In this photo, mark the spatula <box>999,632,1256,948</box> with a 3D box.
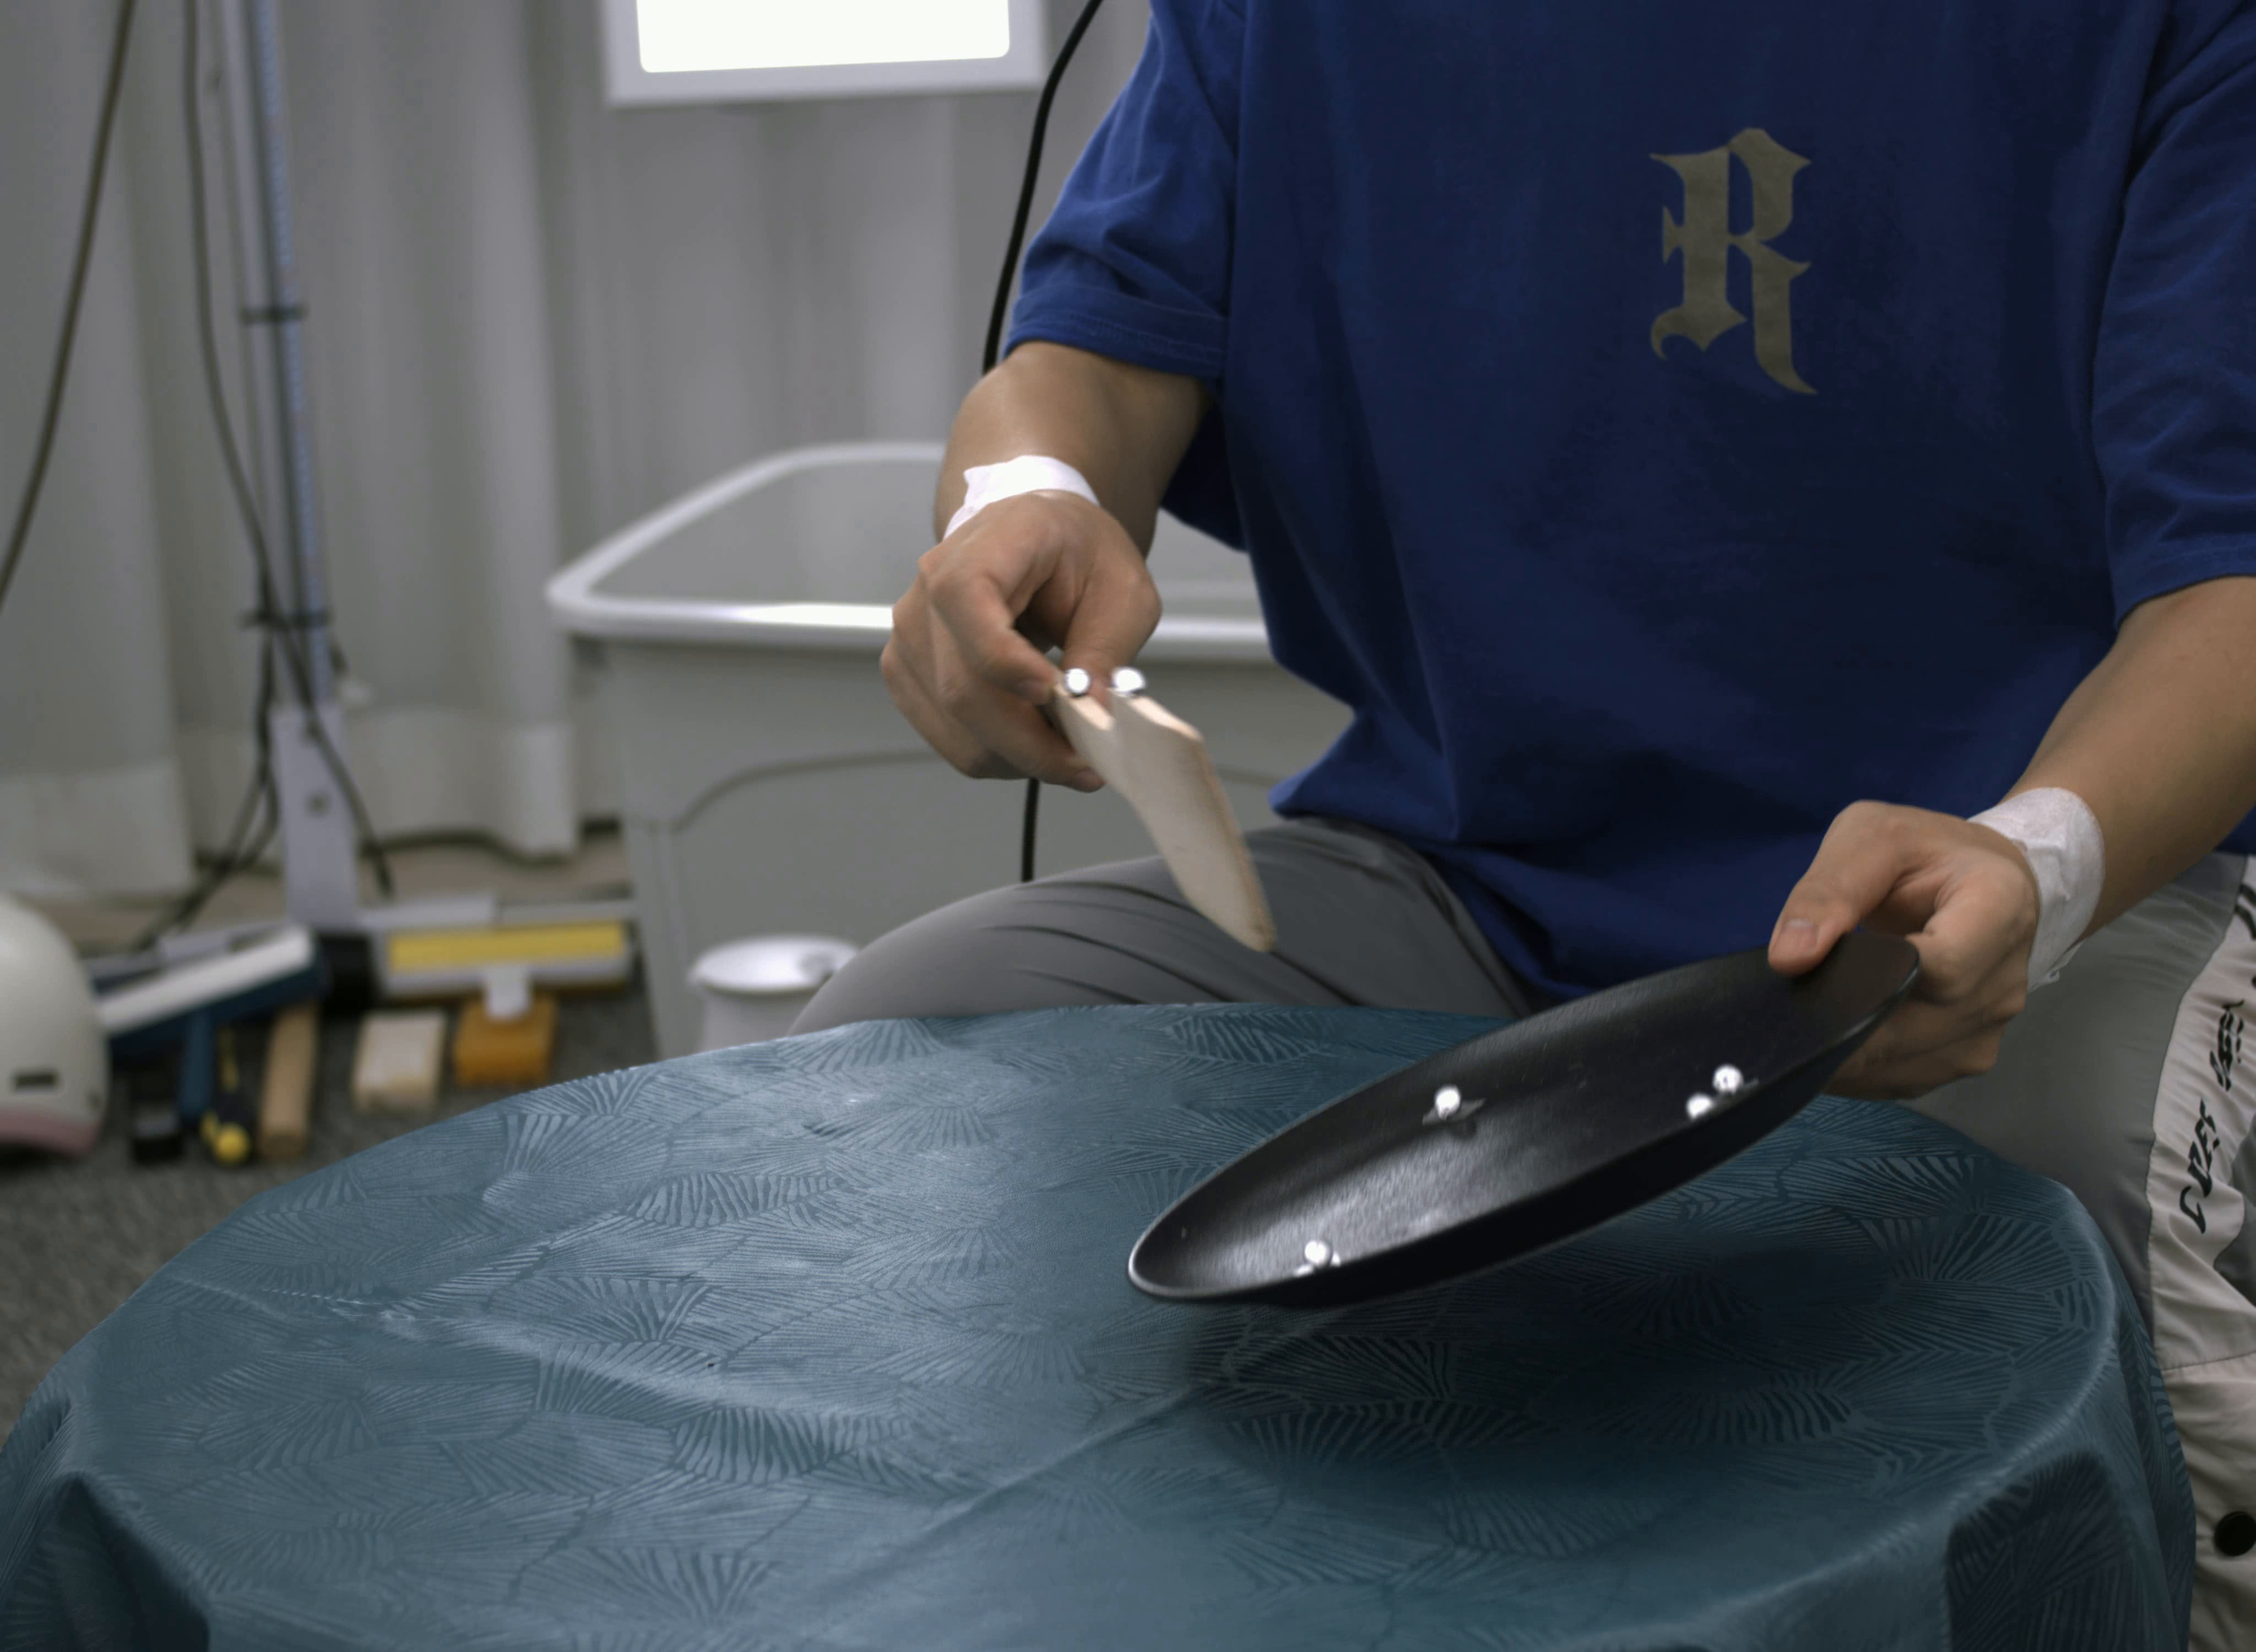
[{"bbox_3d":[-0.008,-0.025,1.656,0.010,0.072,0.295,-24,15,-6],"label":"spatula"}]

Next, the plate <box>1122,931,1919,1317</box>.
[{"bbox_3d":[0.114,0.090,1.549,0.244,0.023,0.245,-23,7,2],"label":"plate"}]
